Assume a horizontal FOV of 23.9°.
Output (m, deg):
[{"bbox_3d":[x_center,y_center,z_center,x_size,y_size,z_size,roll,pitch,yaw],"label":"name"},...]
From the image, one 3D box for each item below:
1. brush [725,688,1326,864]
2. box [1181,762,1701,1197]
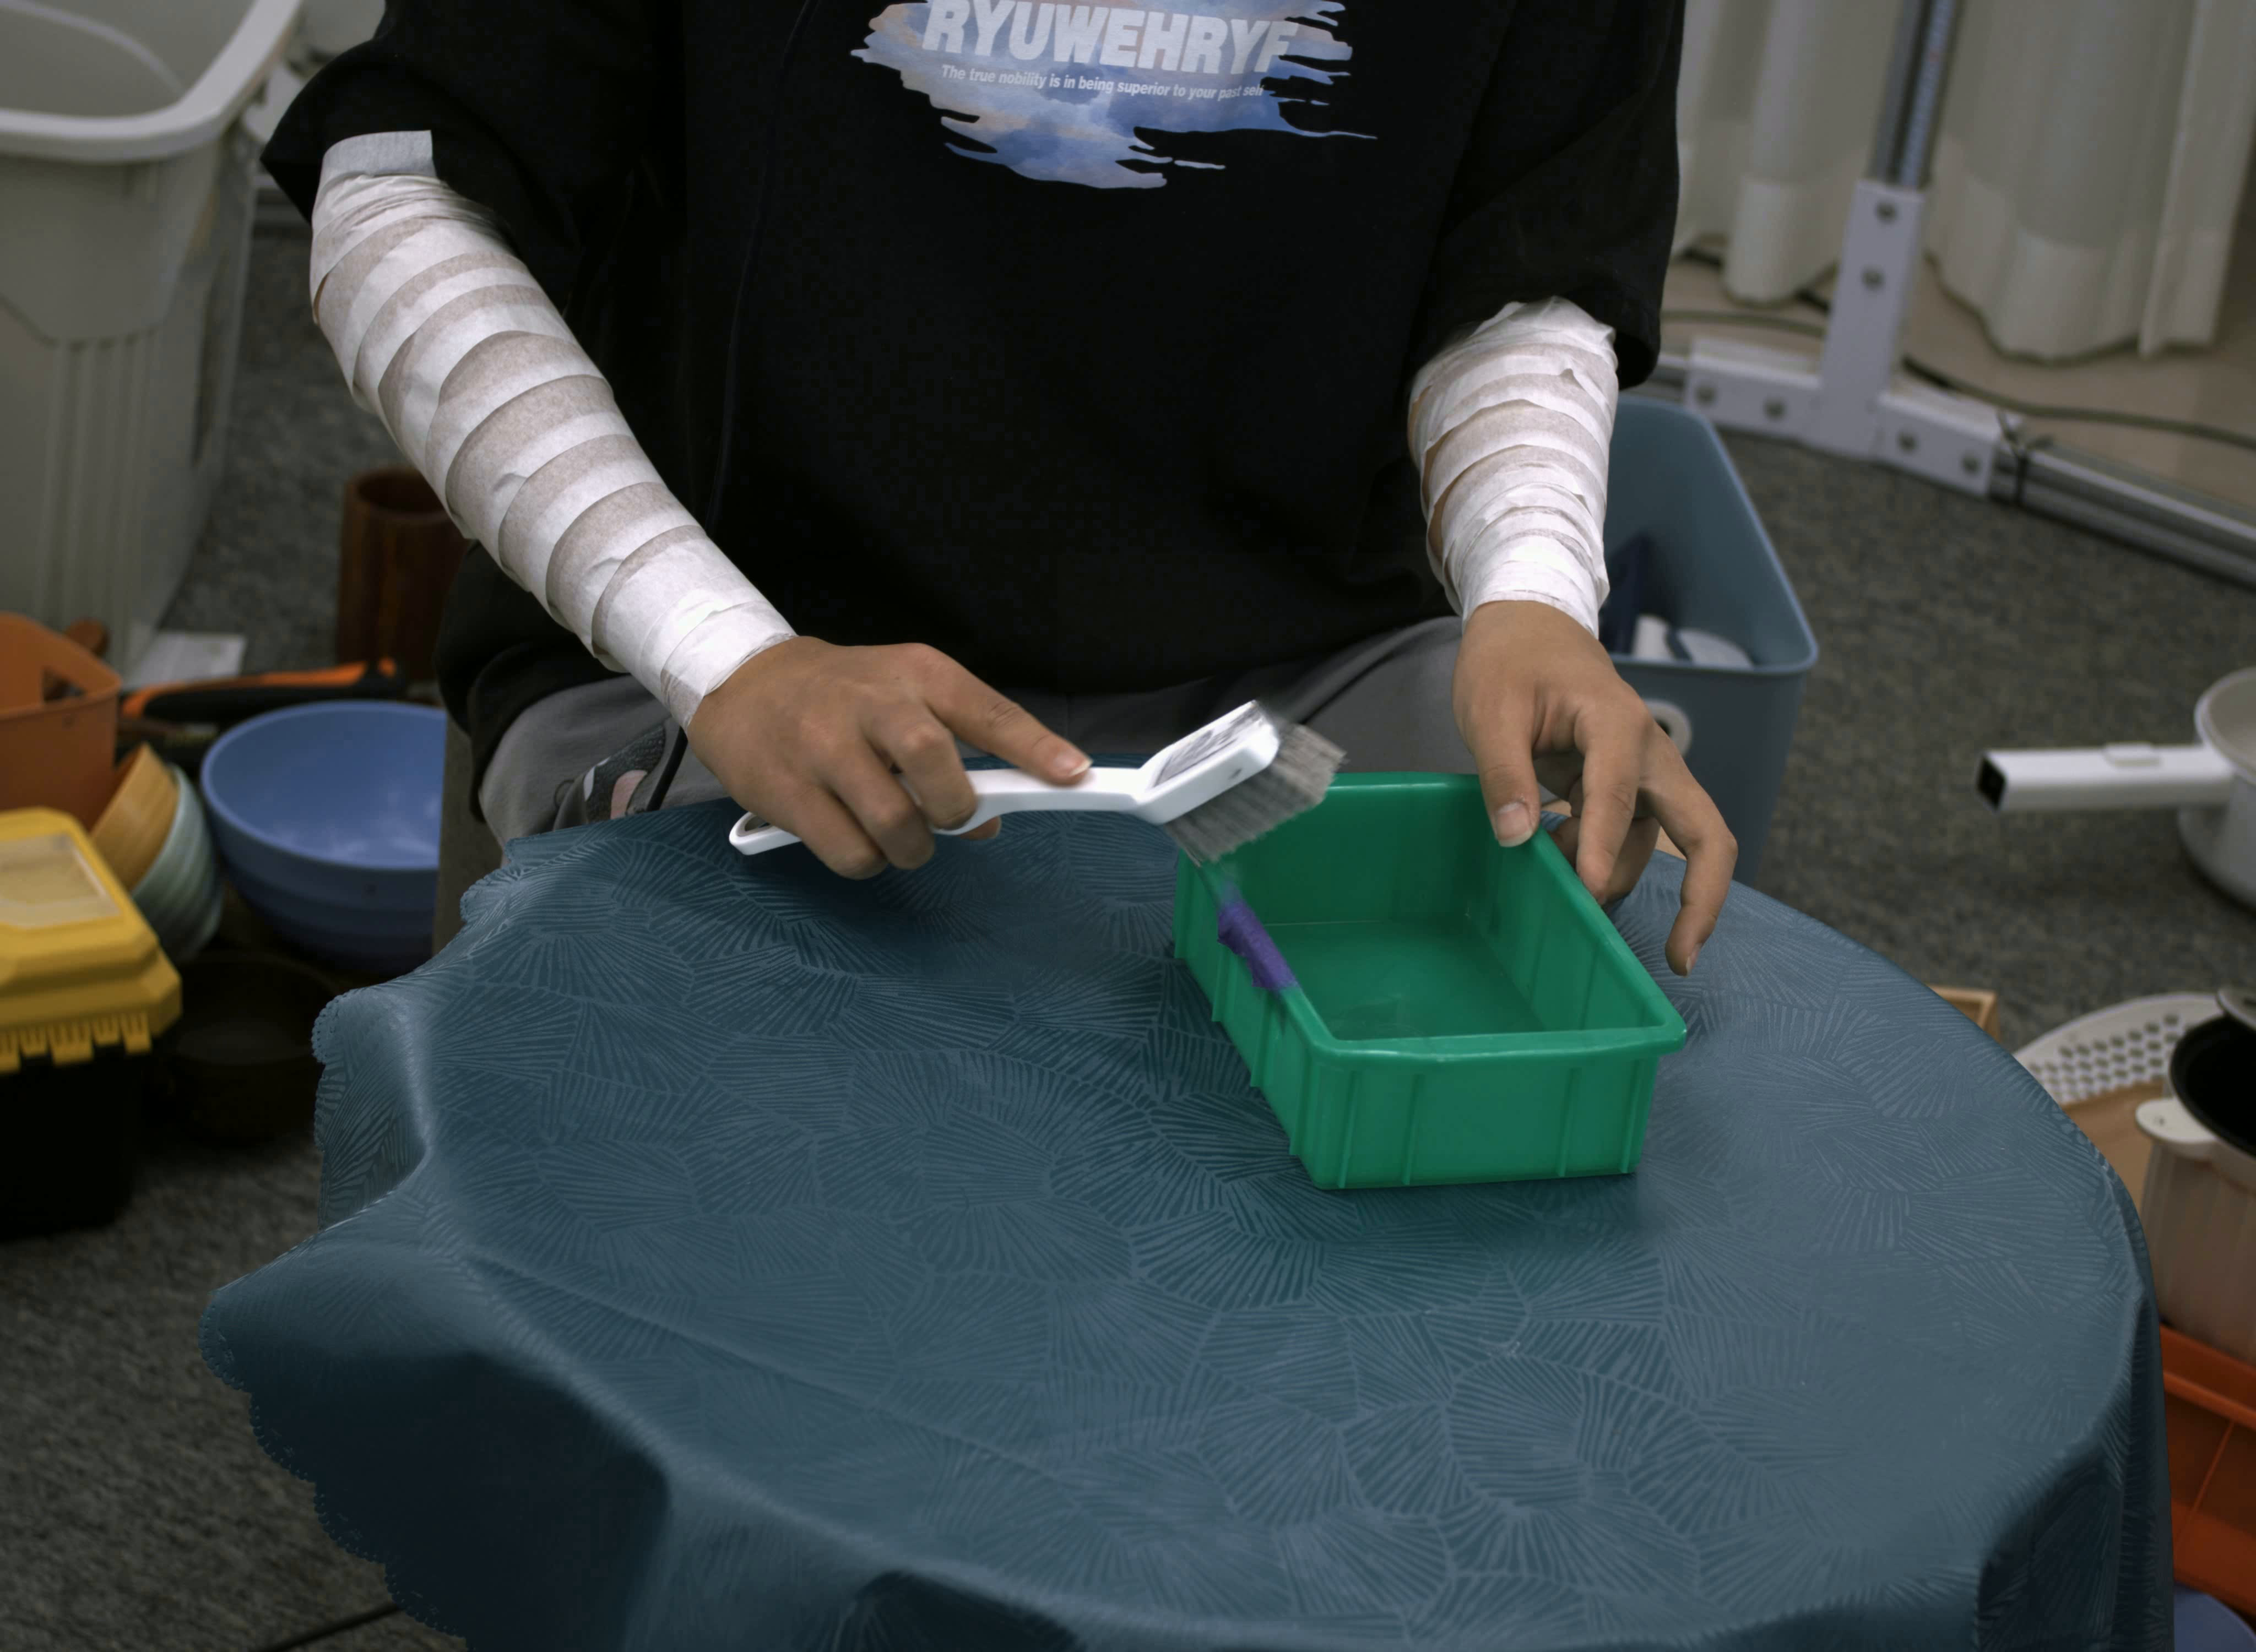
[{"bbox_3d":[-0.038,-0.002,1.927,0.244,0.050,0.034,-13,37,31],"label":"brush"},{"bbox_3d":[0.104,0.055,1.892,0.138,0.065,0.212,-6,30,-16],"label":"box"}]
